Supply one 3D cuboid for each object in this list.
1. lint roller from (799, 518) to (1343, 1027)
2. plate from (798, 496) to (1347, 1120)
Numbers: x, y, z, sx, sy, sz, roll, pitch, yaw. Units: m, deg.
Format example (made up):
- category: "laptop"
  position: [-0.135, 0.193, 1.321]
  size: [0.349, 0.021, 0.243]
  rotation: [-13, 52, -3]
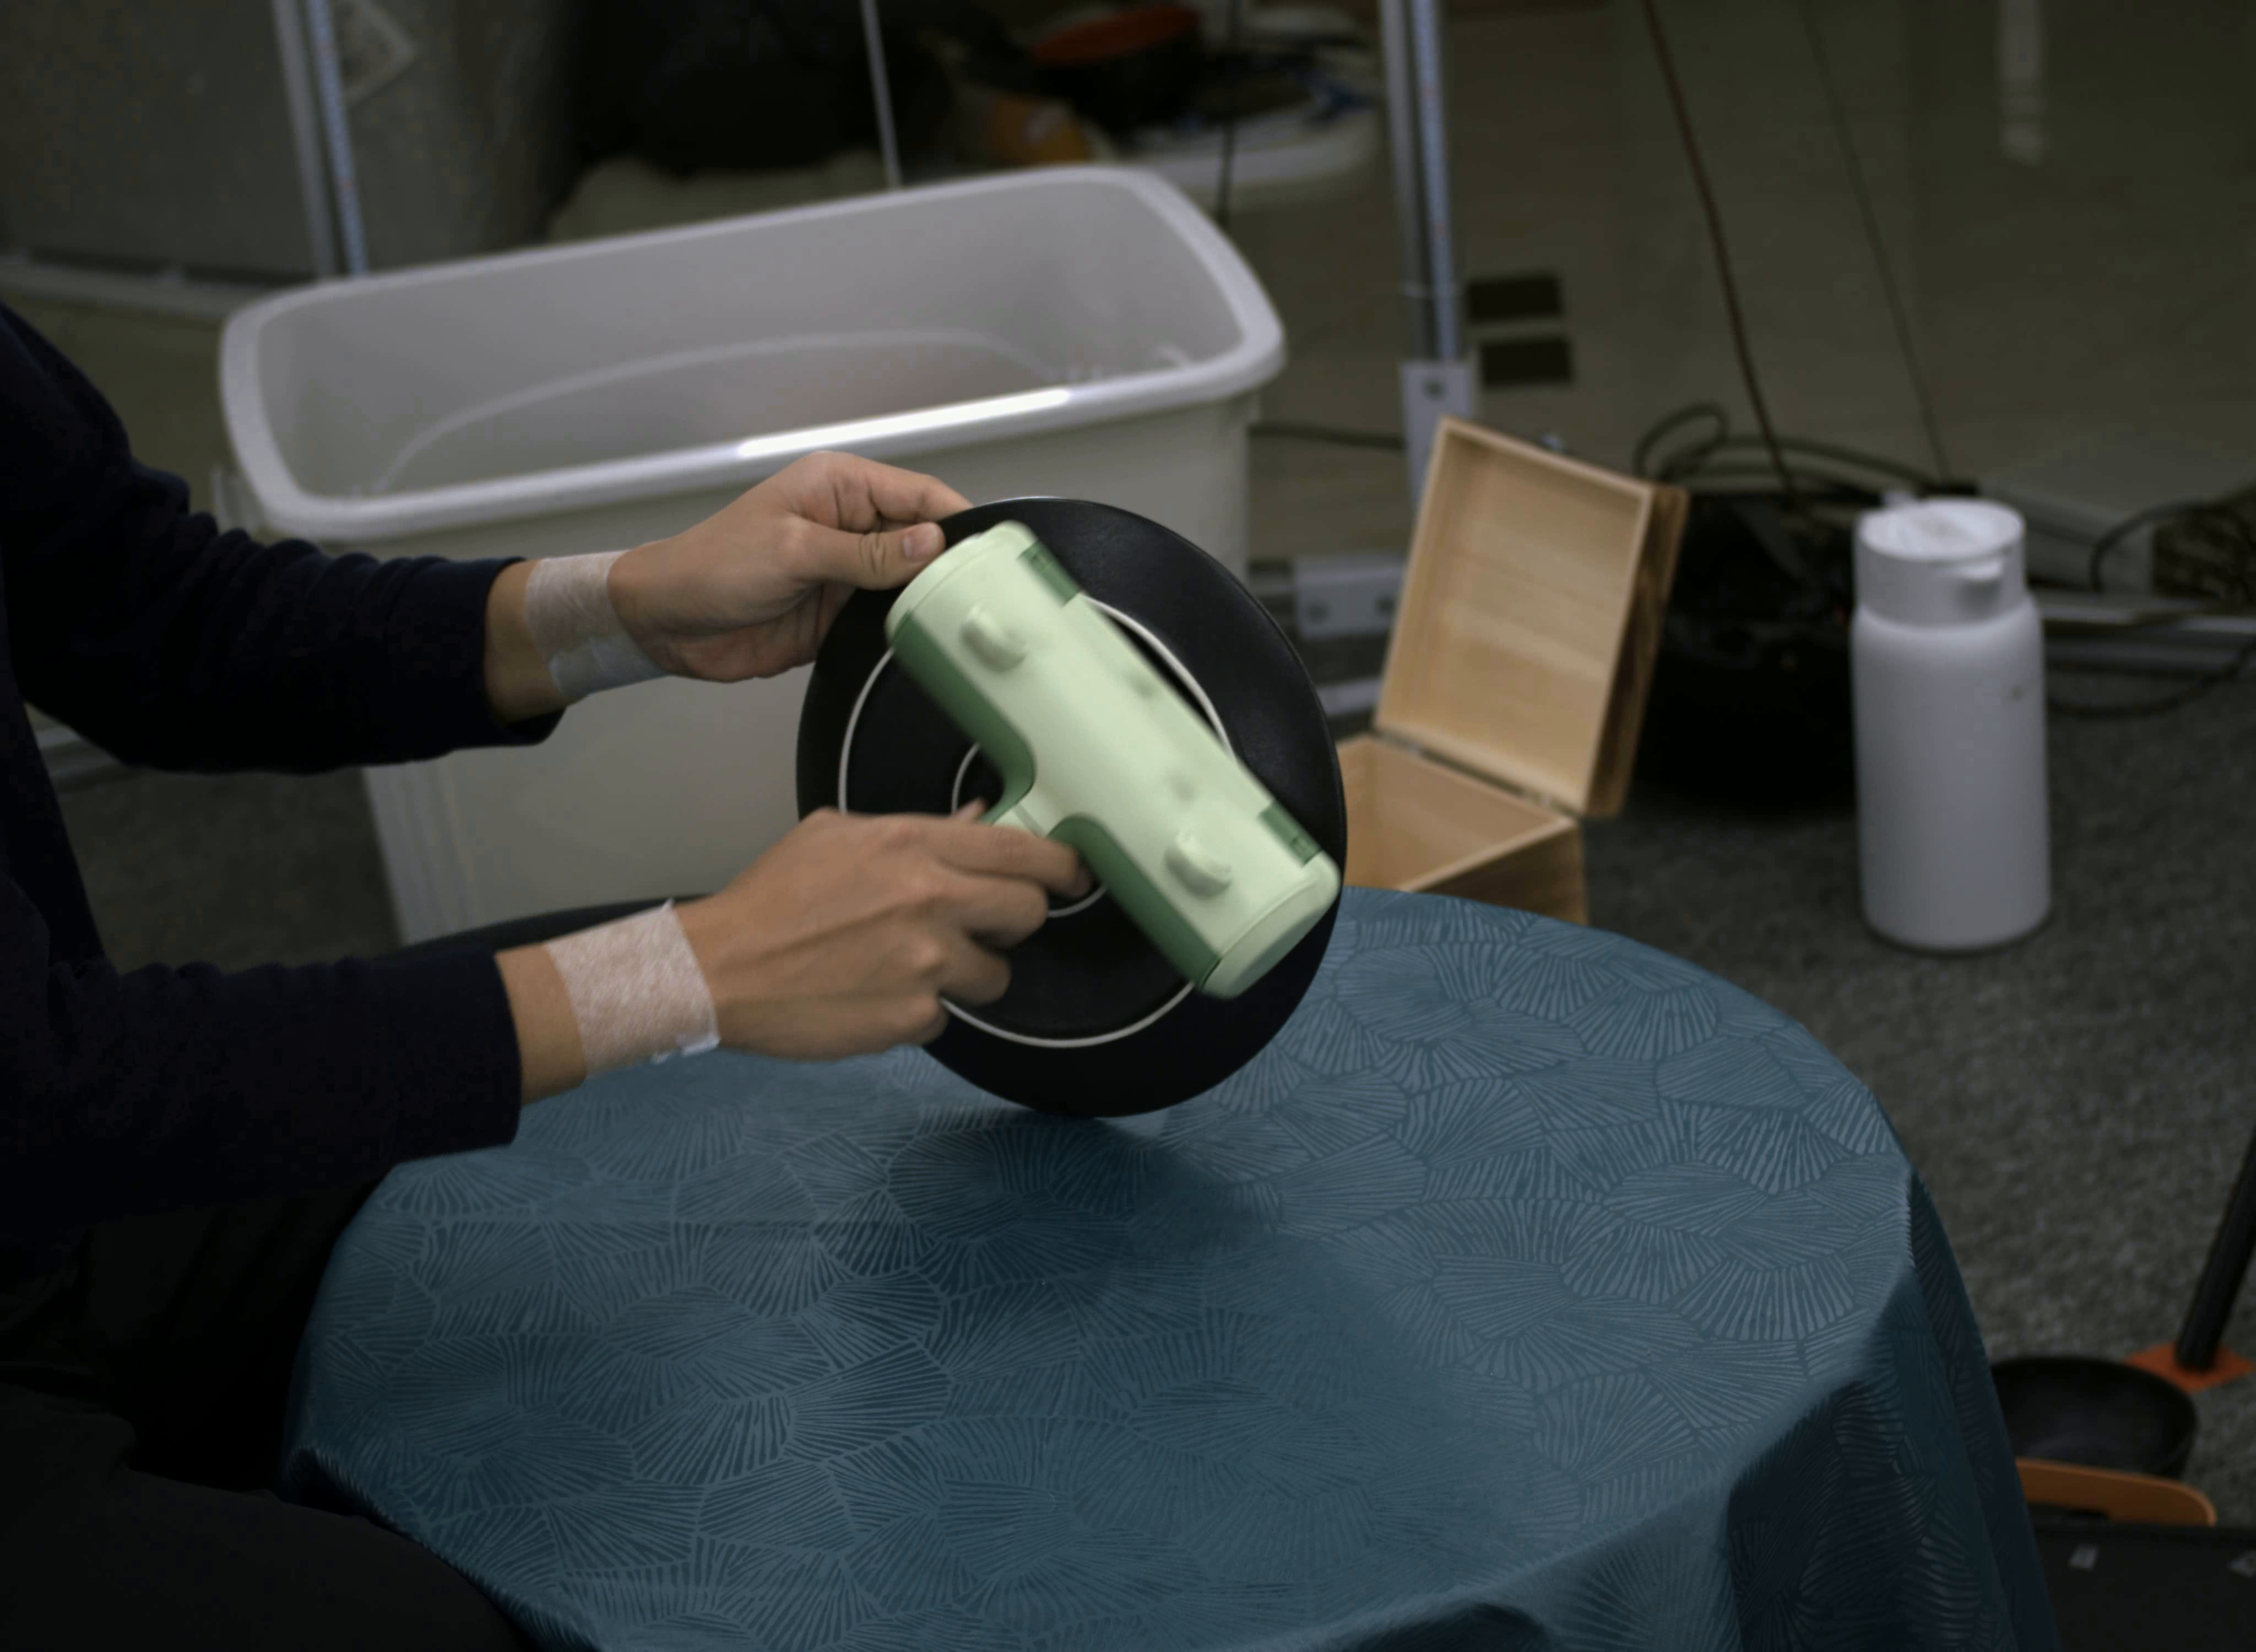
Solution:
- category: "lint roller"
  position: [-0.049, 0.005, 2.090]
  size: [0.182, 0.083, 0.197]
  rotation: [-39, 78, -17]
- category: "plate"
  position: [-0.028, -0.004, 2.171]
  size: [0.243, 0.247, 0.023]
  rotation: [8, 16, 28]
